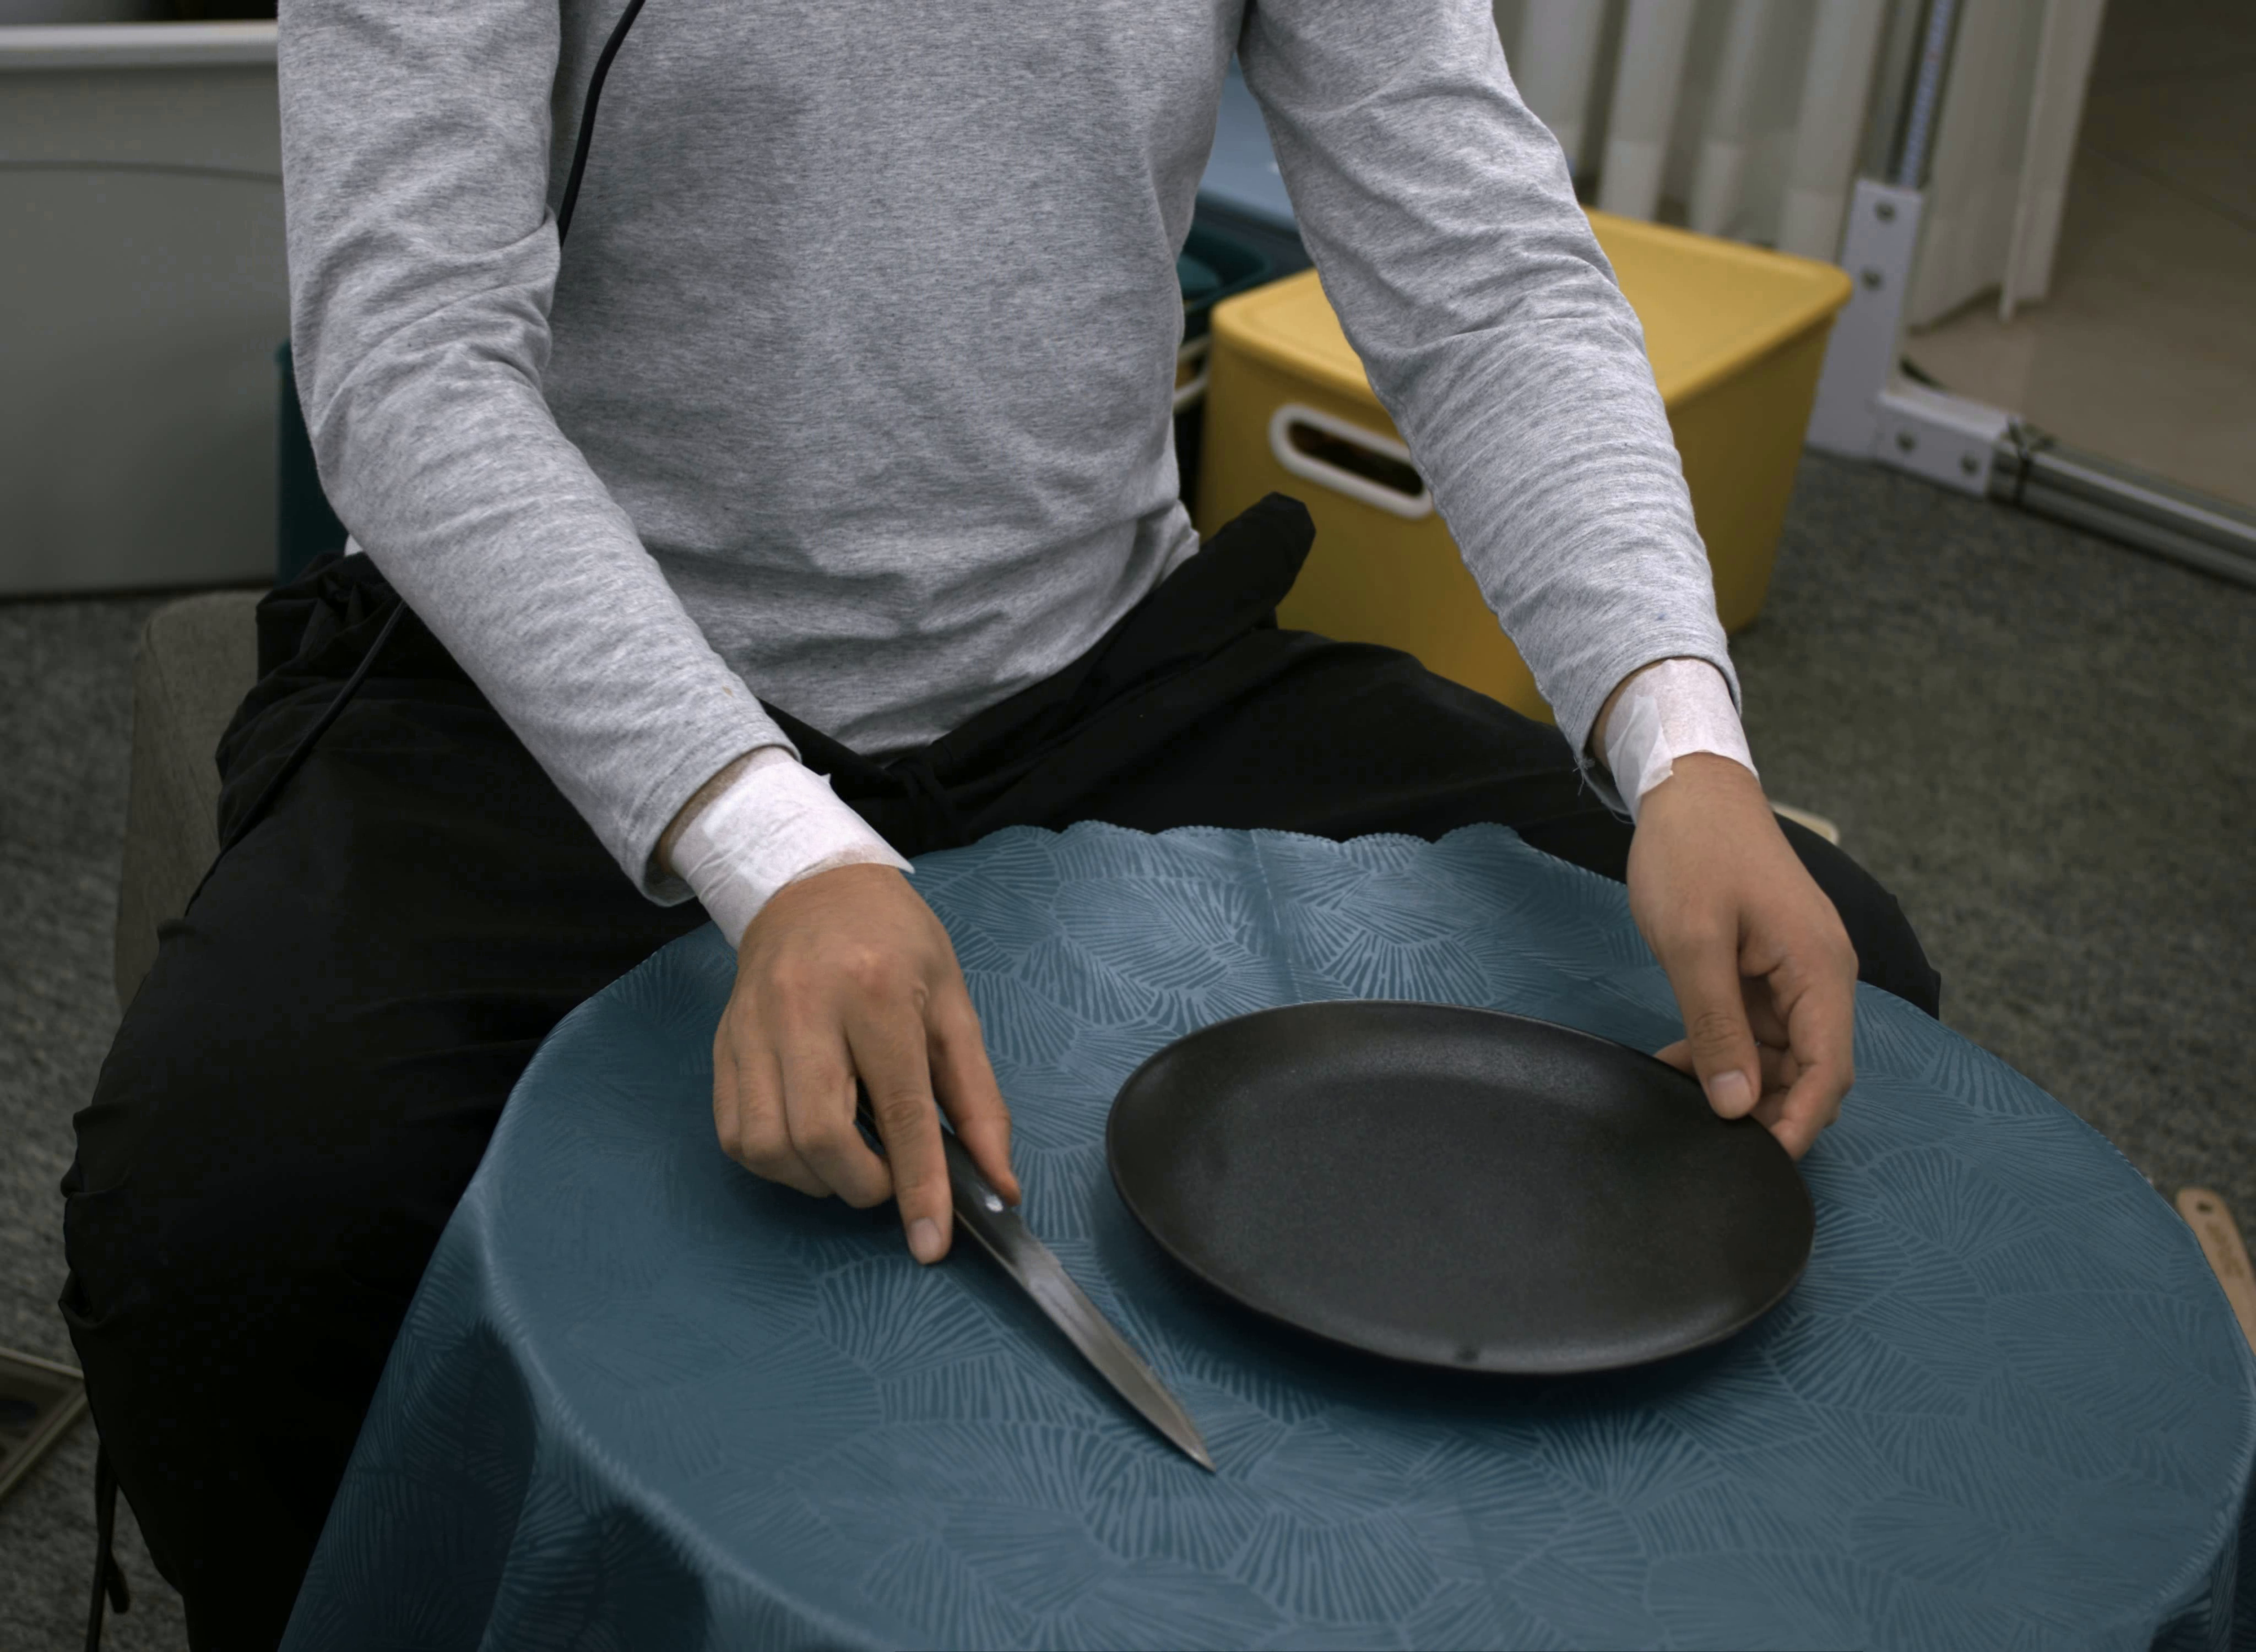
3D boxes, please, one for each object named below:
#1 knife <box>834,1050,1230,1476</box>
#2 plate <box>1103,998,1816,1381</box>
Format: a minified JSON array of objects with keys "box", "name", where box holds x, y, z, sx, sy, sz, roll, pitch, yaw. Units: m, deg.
[{"box":[-0.034,0.142,1.738,0.024,0.016,0.240,-4,33,-36],"name":"knife"},{"box":[0.111,0.126,1.801,0.243,0.023,0.246,5,27,-3],"name":"plate"}]
